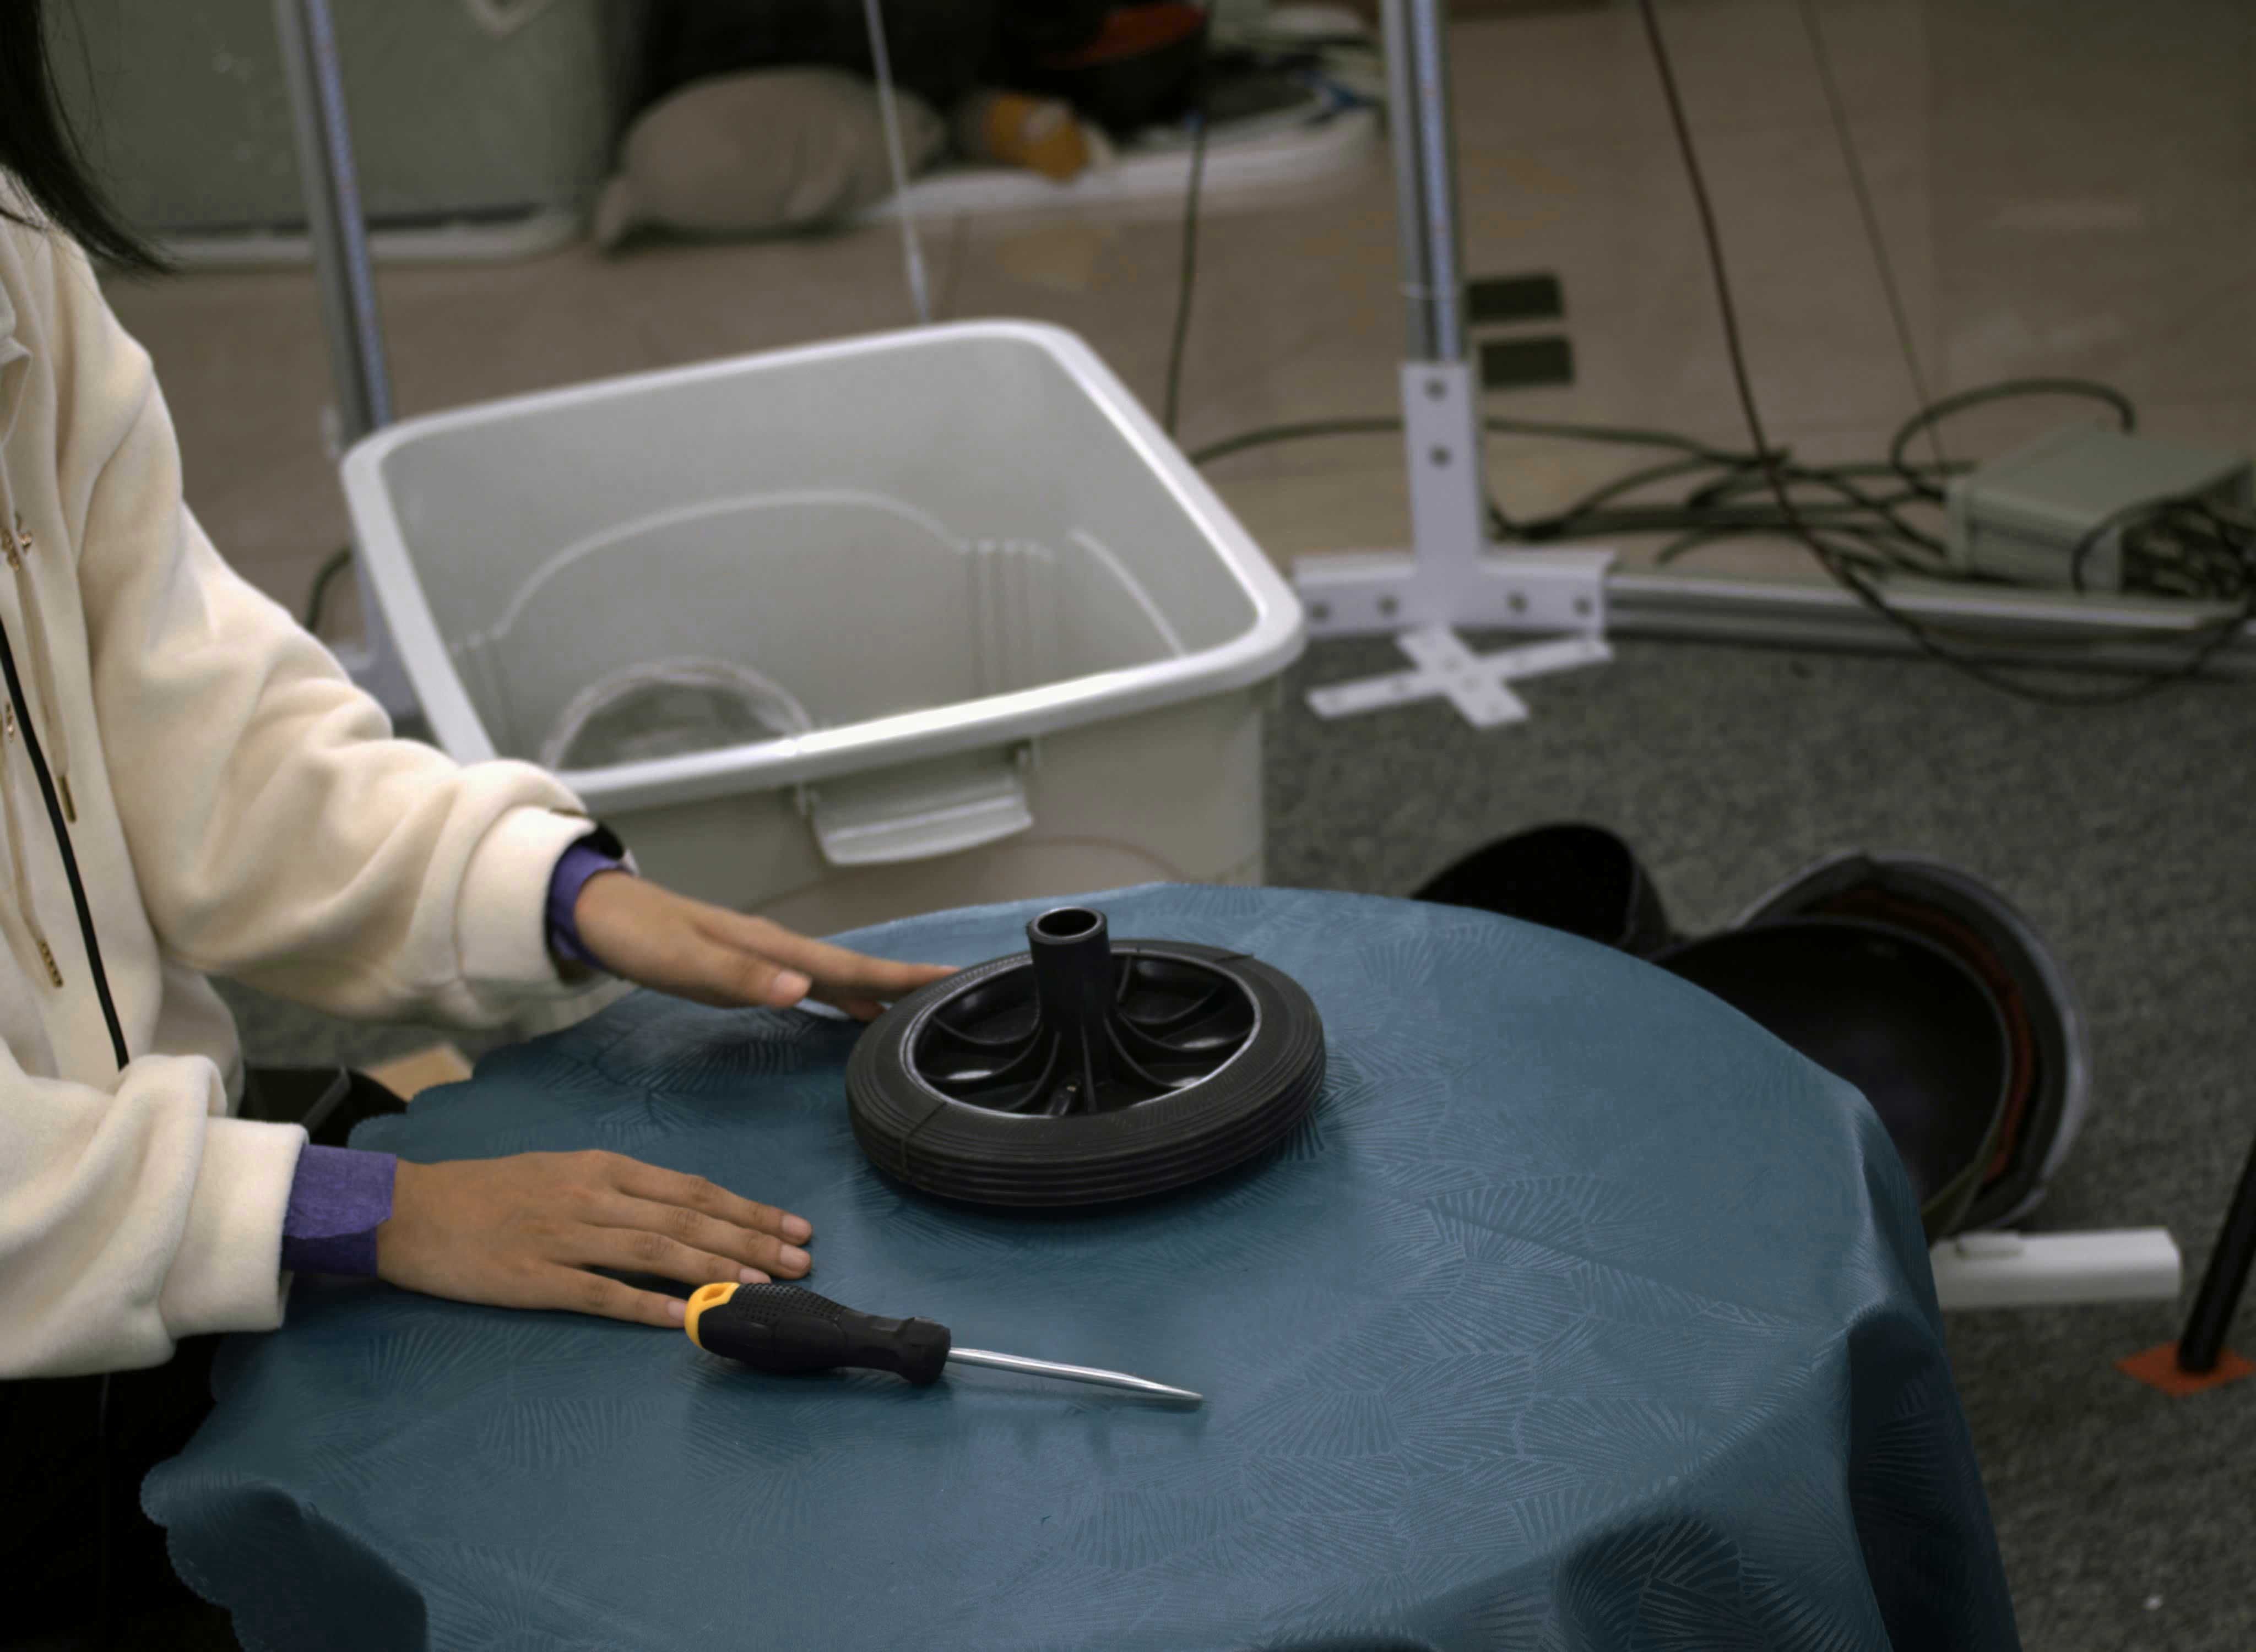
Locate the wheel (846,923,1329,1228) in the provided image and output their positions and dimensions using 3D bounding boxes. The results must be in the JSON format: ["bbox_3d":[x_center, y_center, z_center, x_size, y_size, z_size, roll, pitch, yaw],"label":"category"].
[{"bbox_3d":[-0.018,0.080,2.191,0.187,0.080,0.187,-9,28,-4],"label":"wheel"}]

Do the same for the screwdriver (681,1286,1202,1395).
[{"bbox_3d":[-0.069,0.190,2.027,0.197,0.032,0.031,7,28,21],"label":"screwdriver"}]
